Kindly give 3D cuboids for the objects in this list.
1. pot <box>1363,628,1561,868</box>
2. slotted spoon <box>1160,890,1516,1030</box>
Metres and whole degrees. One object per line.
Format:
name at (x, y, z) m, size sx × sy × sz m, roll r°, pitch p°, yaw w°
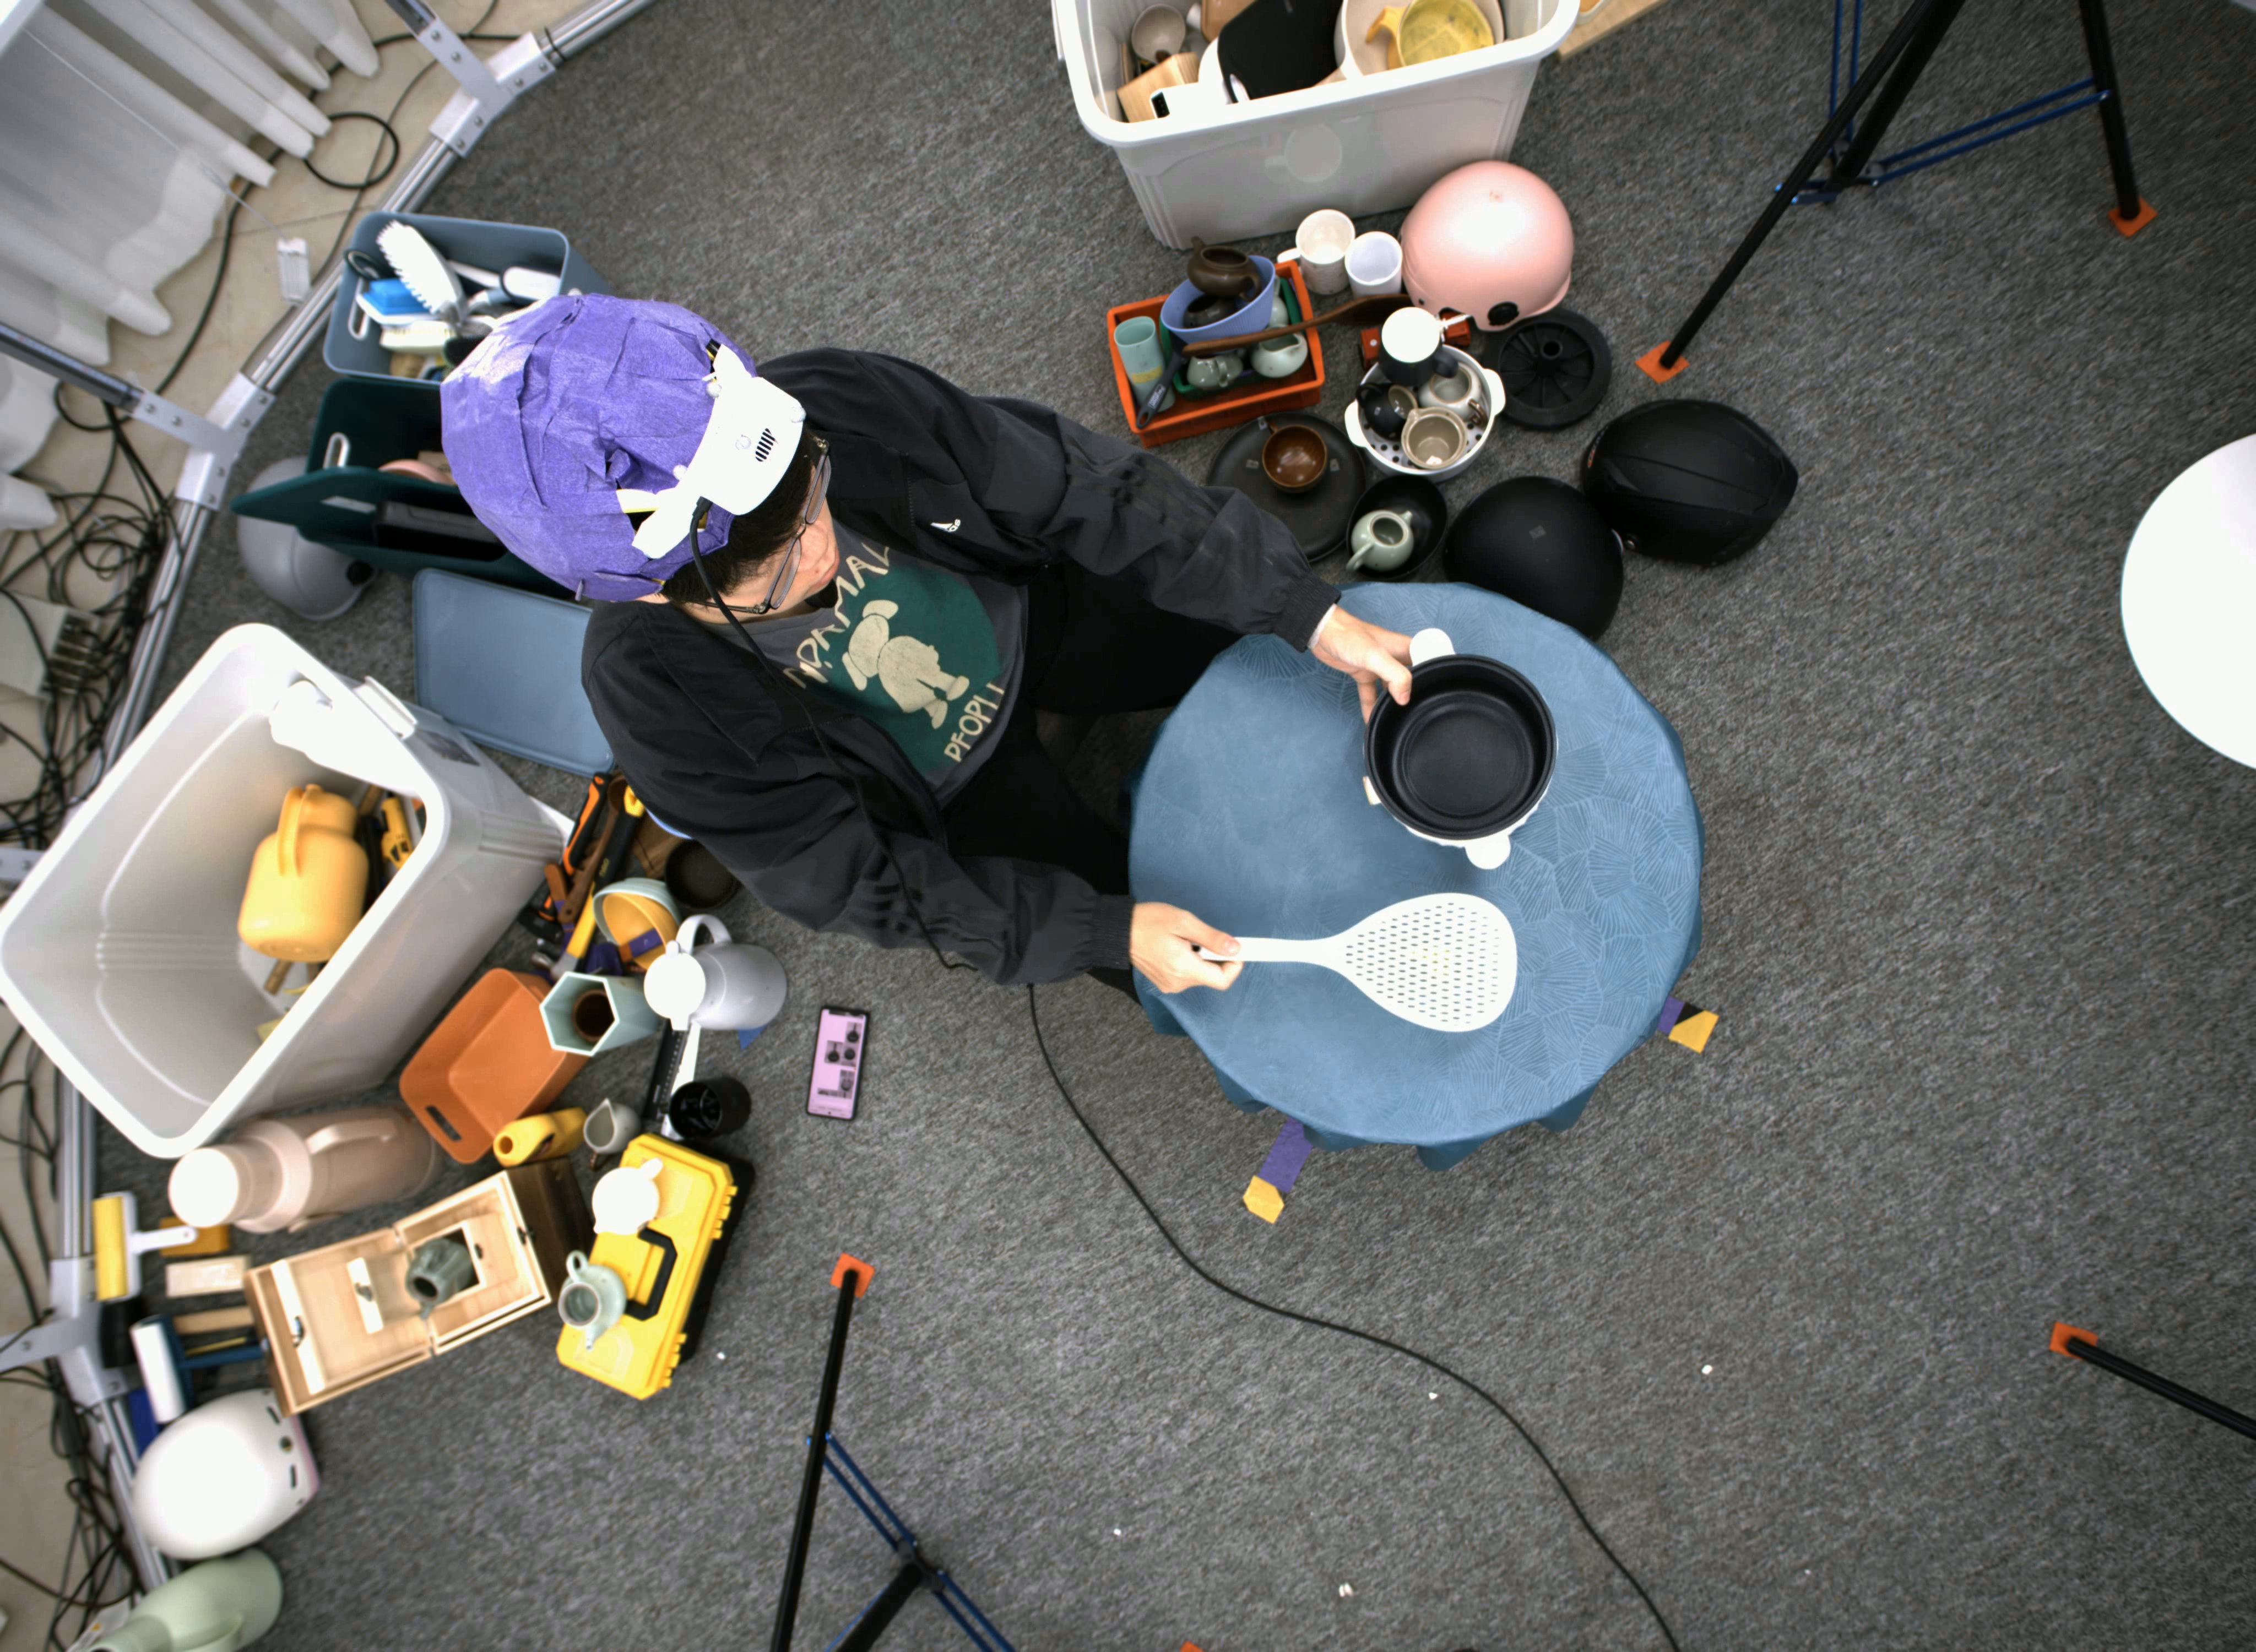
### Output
pot at (0.327, -0.067, 1.363) m, size 0.192 × 0.143 × 0.238 m, roll -16°, pitch 80°, yaw 10°
slotted spoon at (0.204, 0.126, 1.372) m, size 0.349 × 0.050 × 0.136 m, roll 2°, pitch 87°, yaw 5°
